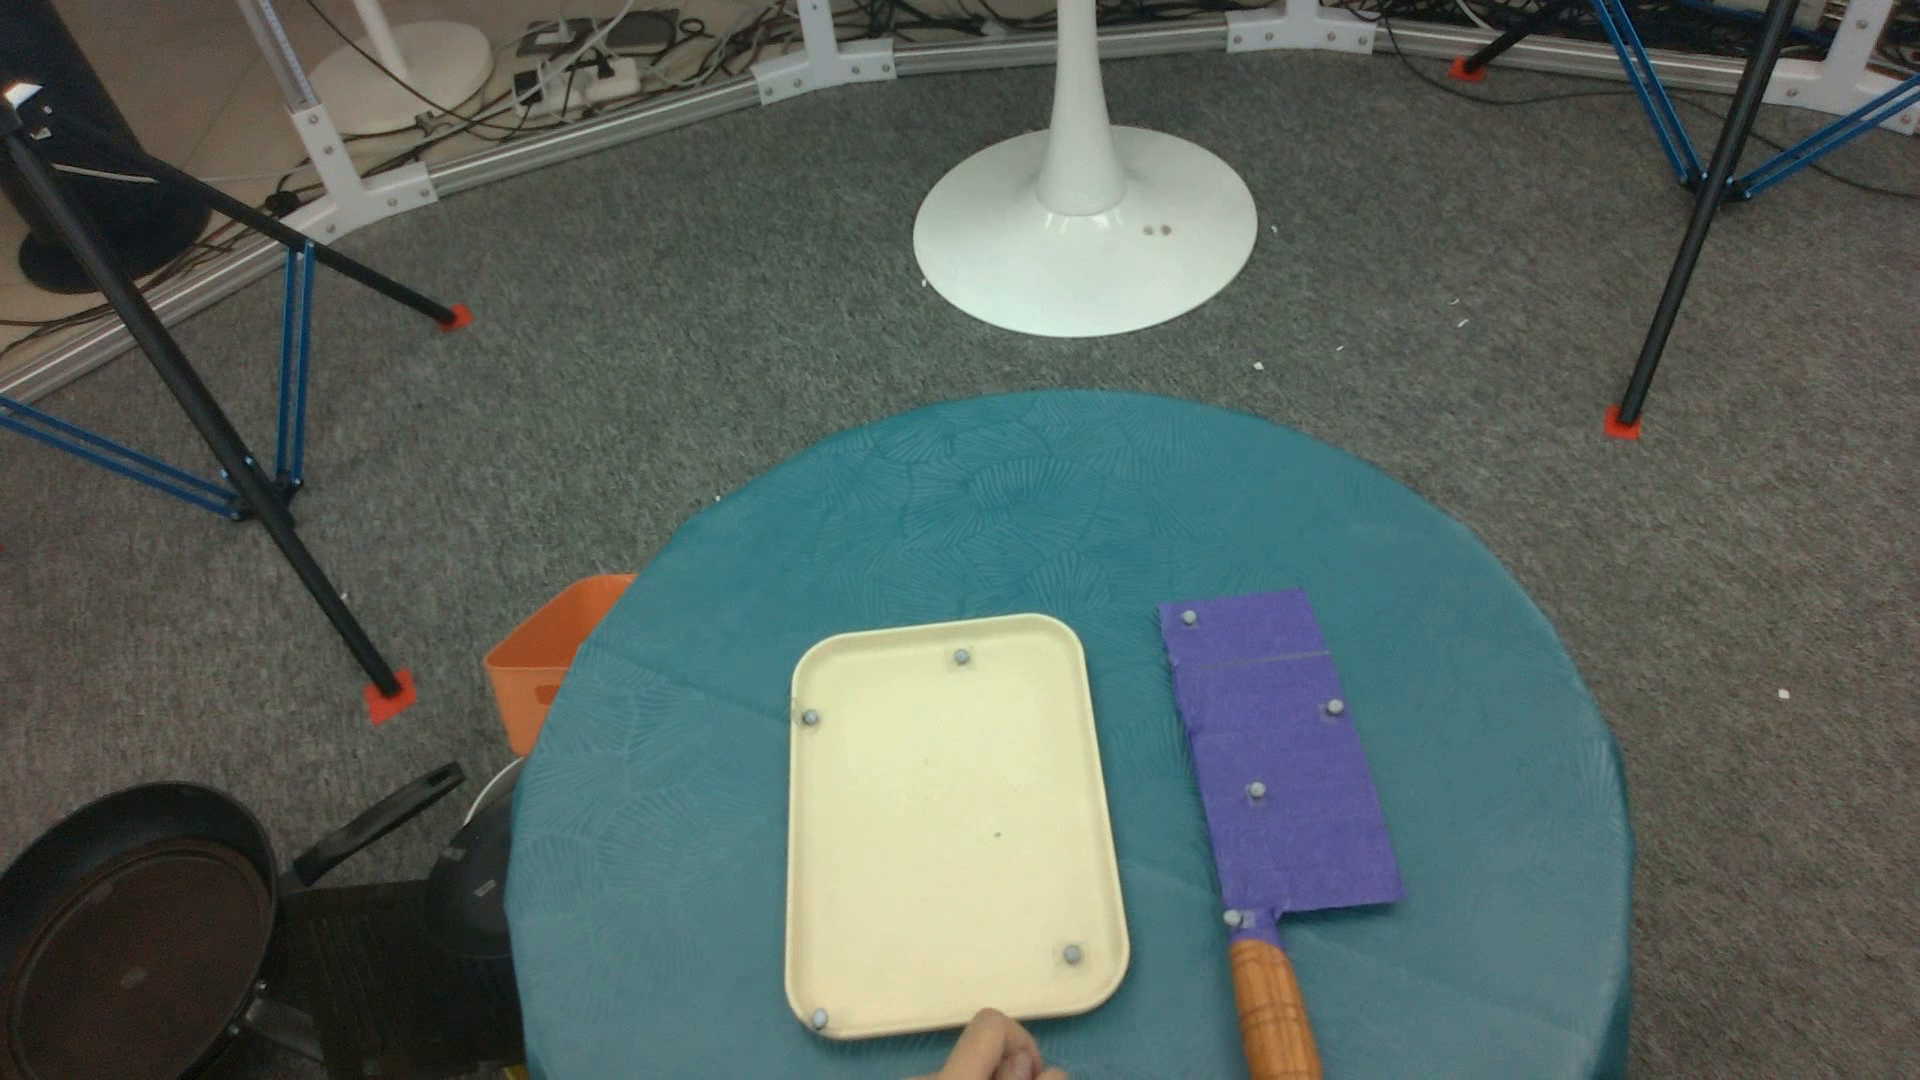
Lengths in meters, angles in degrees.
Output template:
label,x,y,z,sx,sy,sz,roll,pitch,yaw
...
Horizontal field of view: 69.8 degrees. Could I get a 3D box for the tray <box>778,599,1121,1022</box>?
label,x,y,z,sx,sy,sz,roll,pitch,yaw
tray,-0.012,0.136,0.738,0.171,0.017,0.240,-6,49,0

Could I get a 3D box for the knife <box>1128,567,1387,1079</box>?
label,x,y,z,sx,sy,sz,roll,pitch,yaw
knife,0.165,0.134,0.716,0.104,0.032,0.316,-7,49,0
